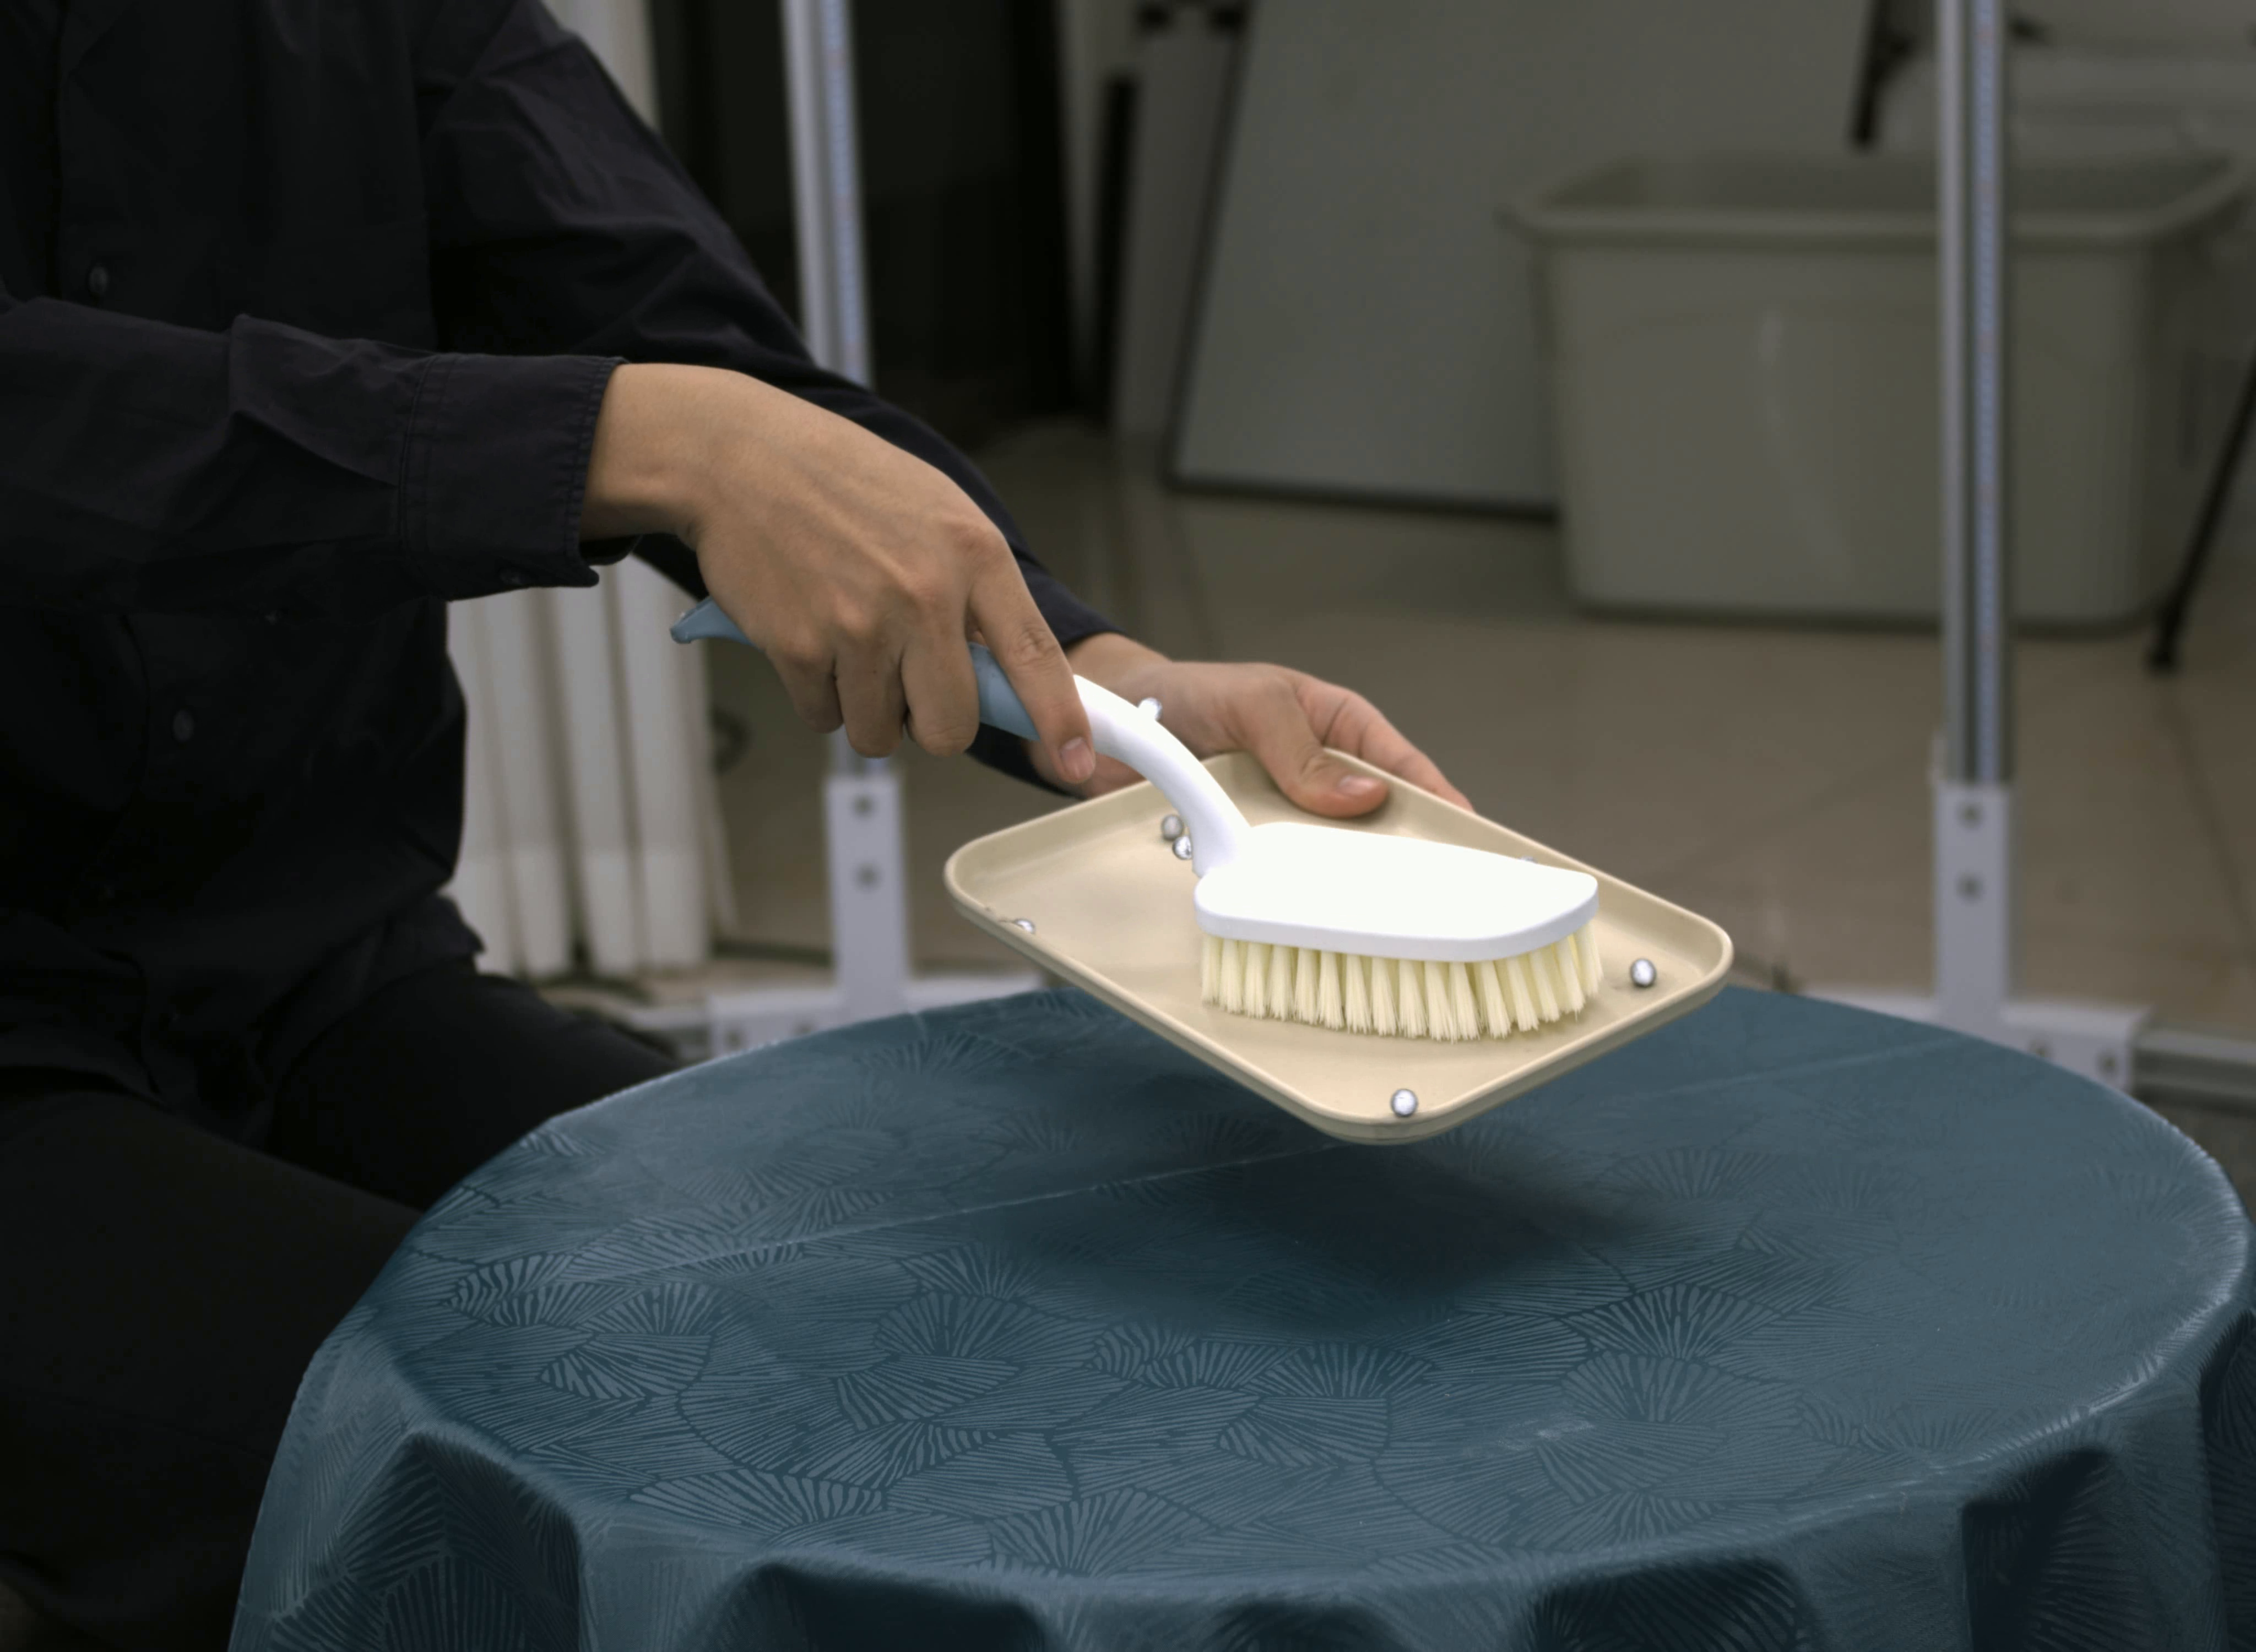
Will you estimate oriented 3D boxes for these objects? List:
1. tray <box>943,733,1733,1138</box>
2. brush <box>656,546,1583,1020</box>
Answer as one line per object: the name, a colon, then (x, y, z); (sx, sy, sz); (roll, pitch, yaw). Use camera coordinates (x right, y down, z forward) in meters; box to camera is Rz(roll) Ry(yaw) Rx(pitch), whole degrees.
tray: (0.065, 0.034, 1.736); (0.168, 0.017, 0.242); (-21, 31, -32)
brush: (-0.007, -0.002, 1.735); (0.325, 0.085, 0.082); (19, -7, 16)
